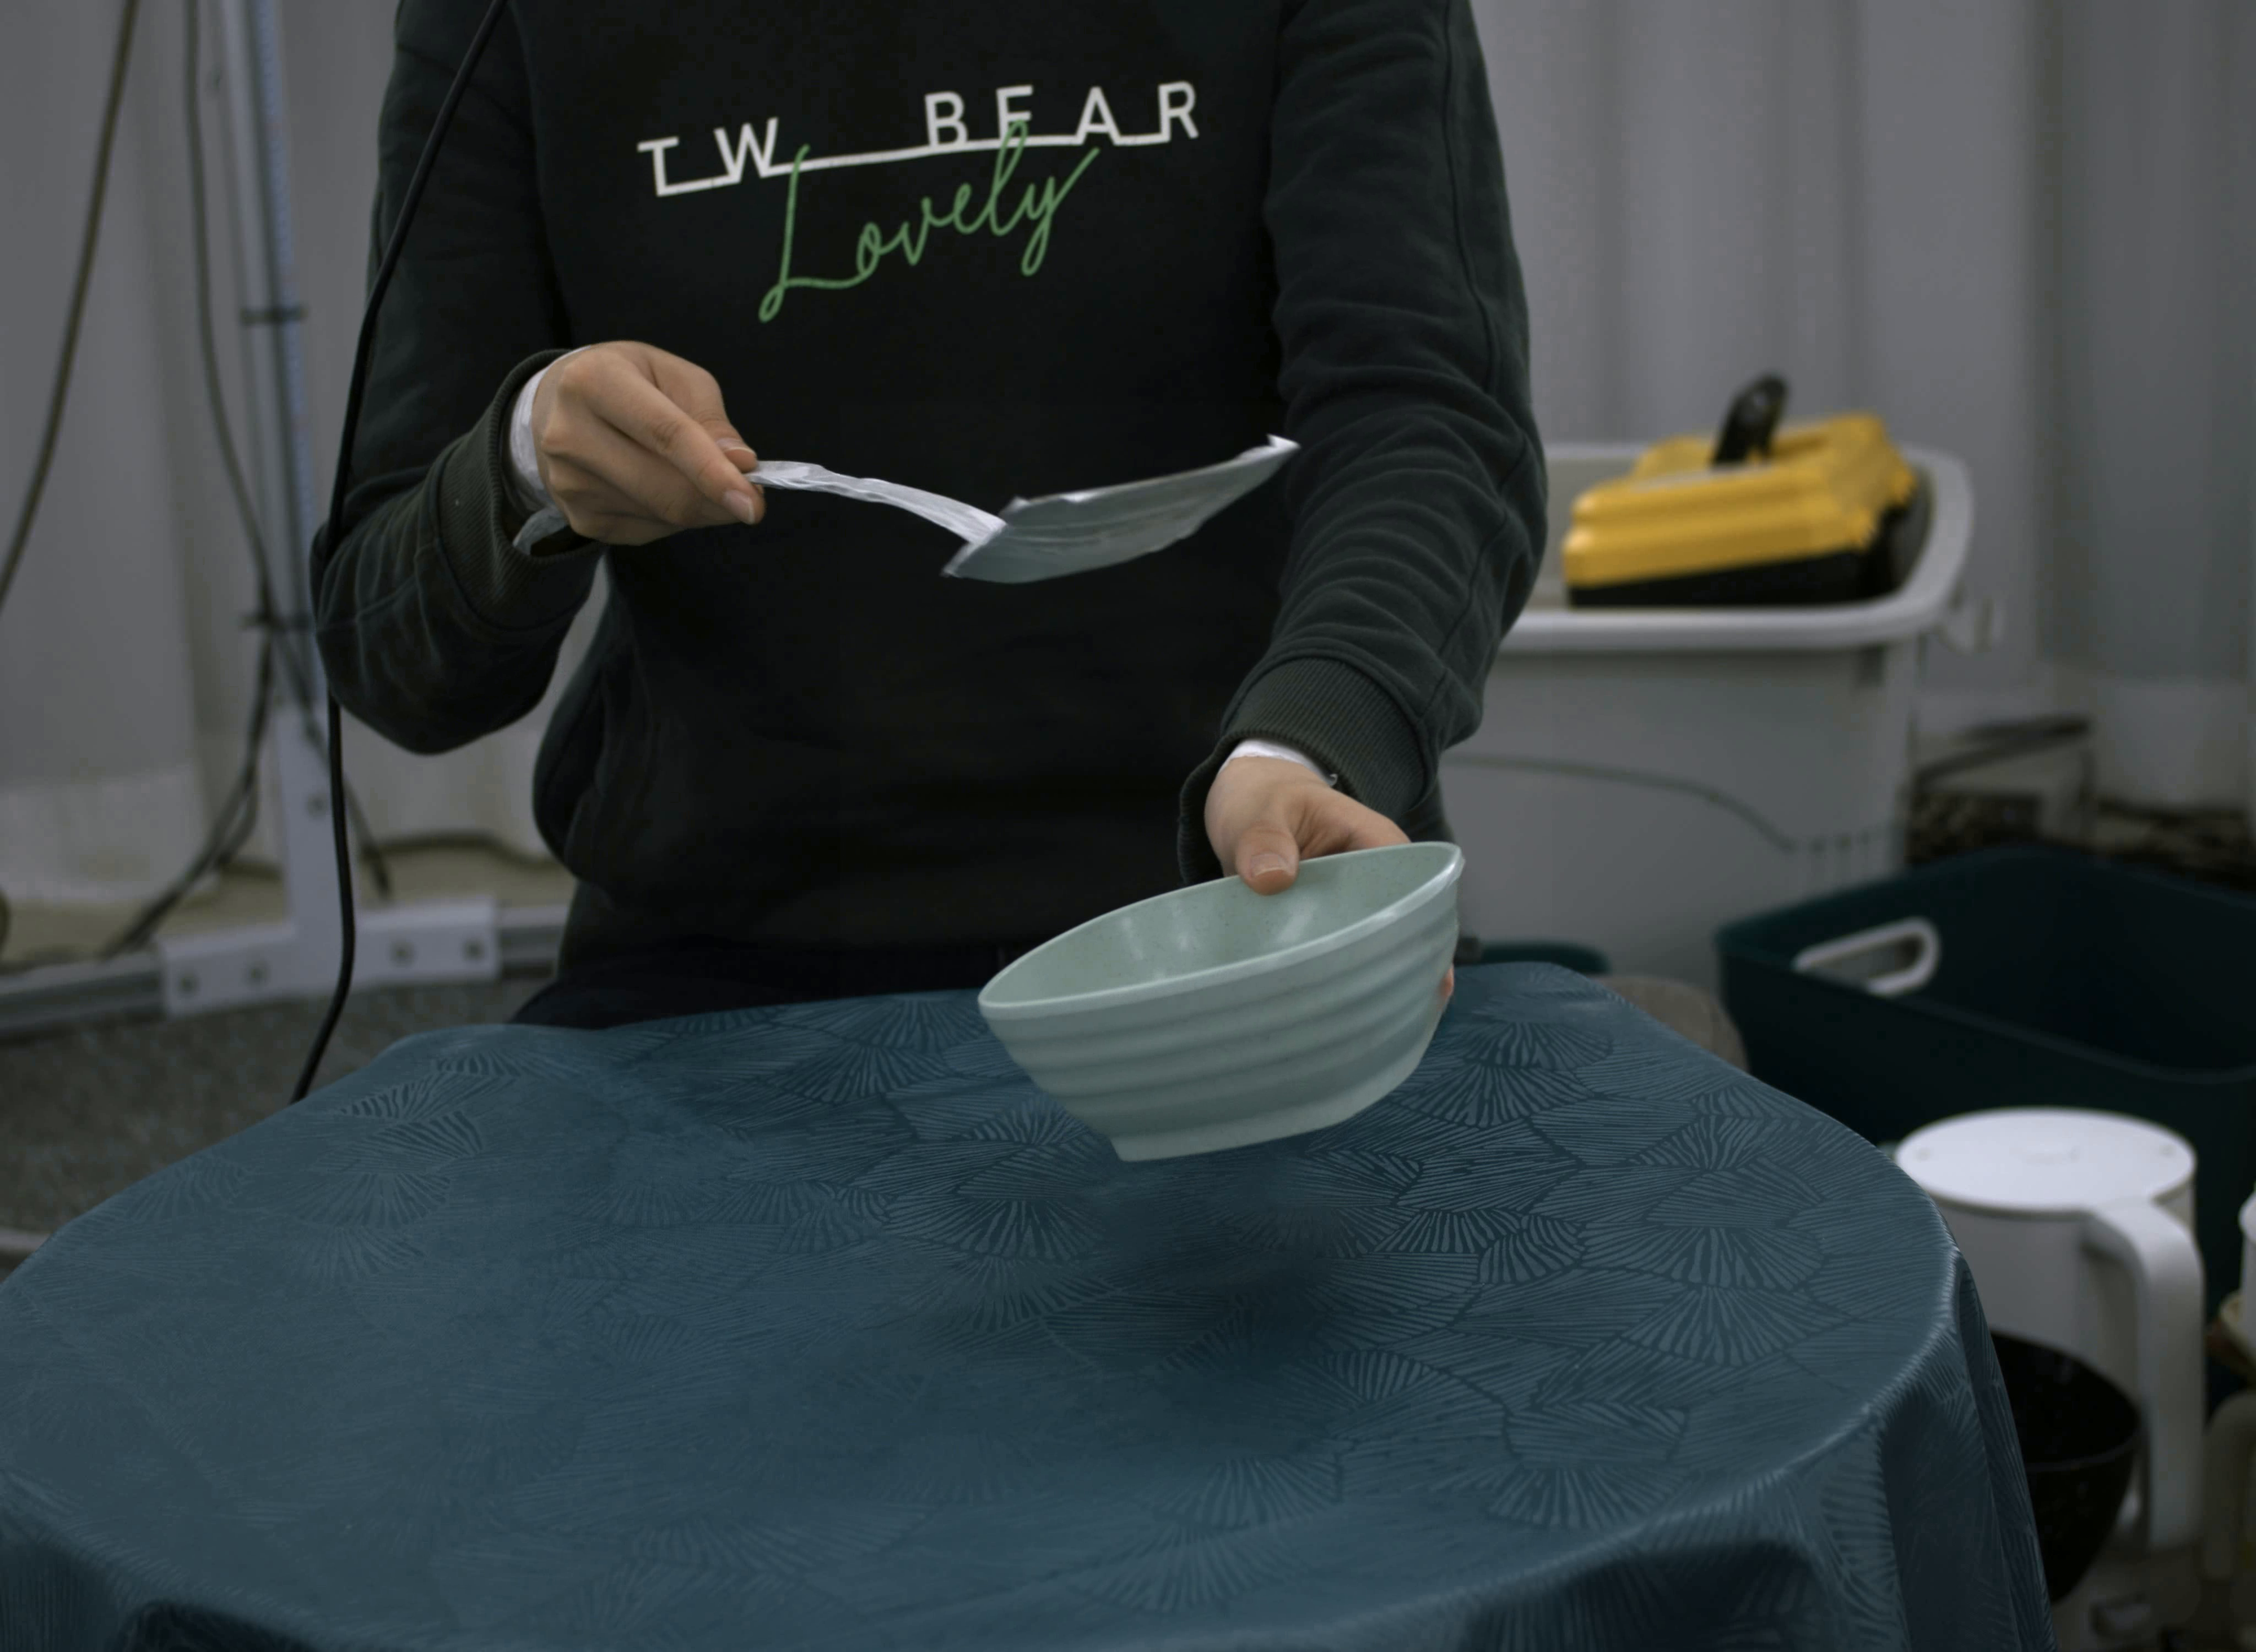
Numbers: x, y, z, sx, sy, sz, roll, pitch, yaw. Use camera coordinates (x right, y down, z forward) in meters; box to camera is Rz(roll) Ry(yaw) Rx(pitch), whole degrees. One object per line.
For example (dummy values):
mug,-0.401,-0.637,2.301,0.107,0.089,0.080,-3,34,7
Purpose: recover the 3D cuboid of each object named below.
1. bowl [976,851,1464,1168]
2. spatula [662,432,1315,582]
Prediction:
bowl,0.033,0.057,1.588,0.151,0.058,0.152,-14,11,2
spatula,-0.068,-0.107,1.706,0.098,0.044,0.367,-16,16,-28
